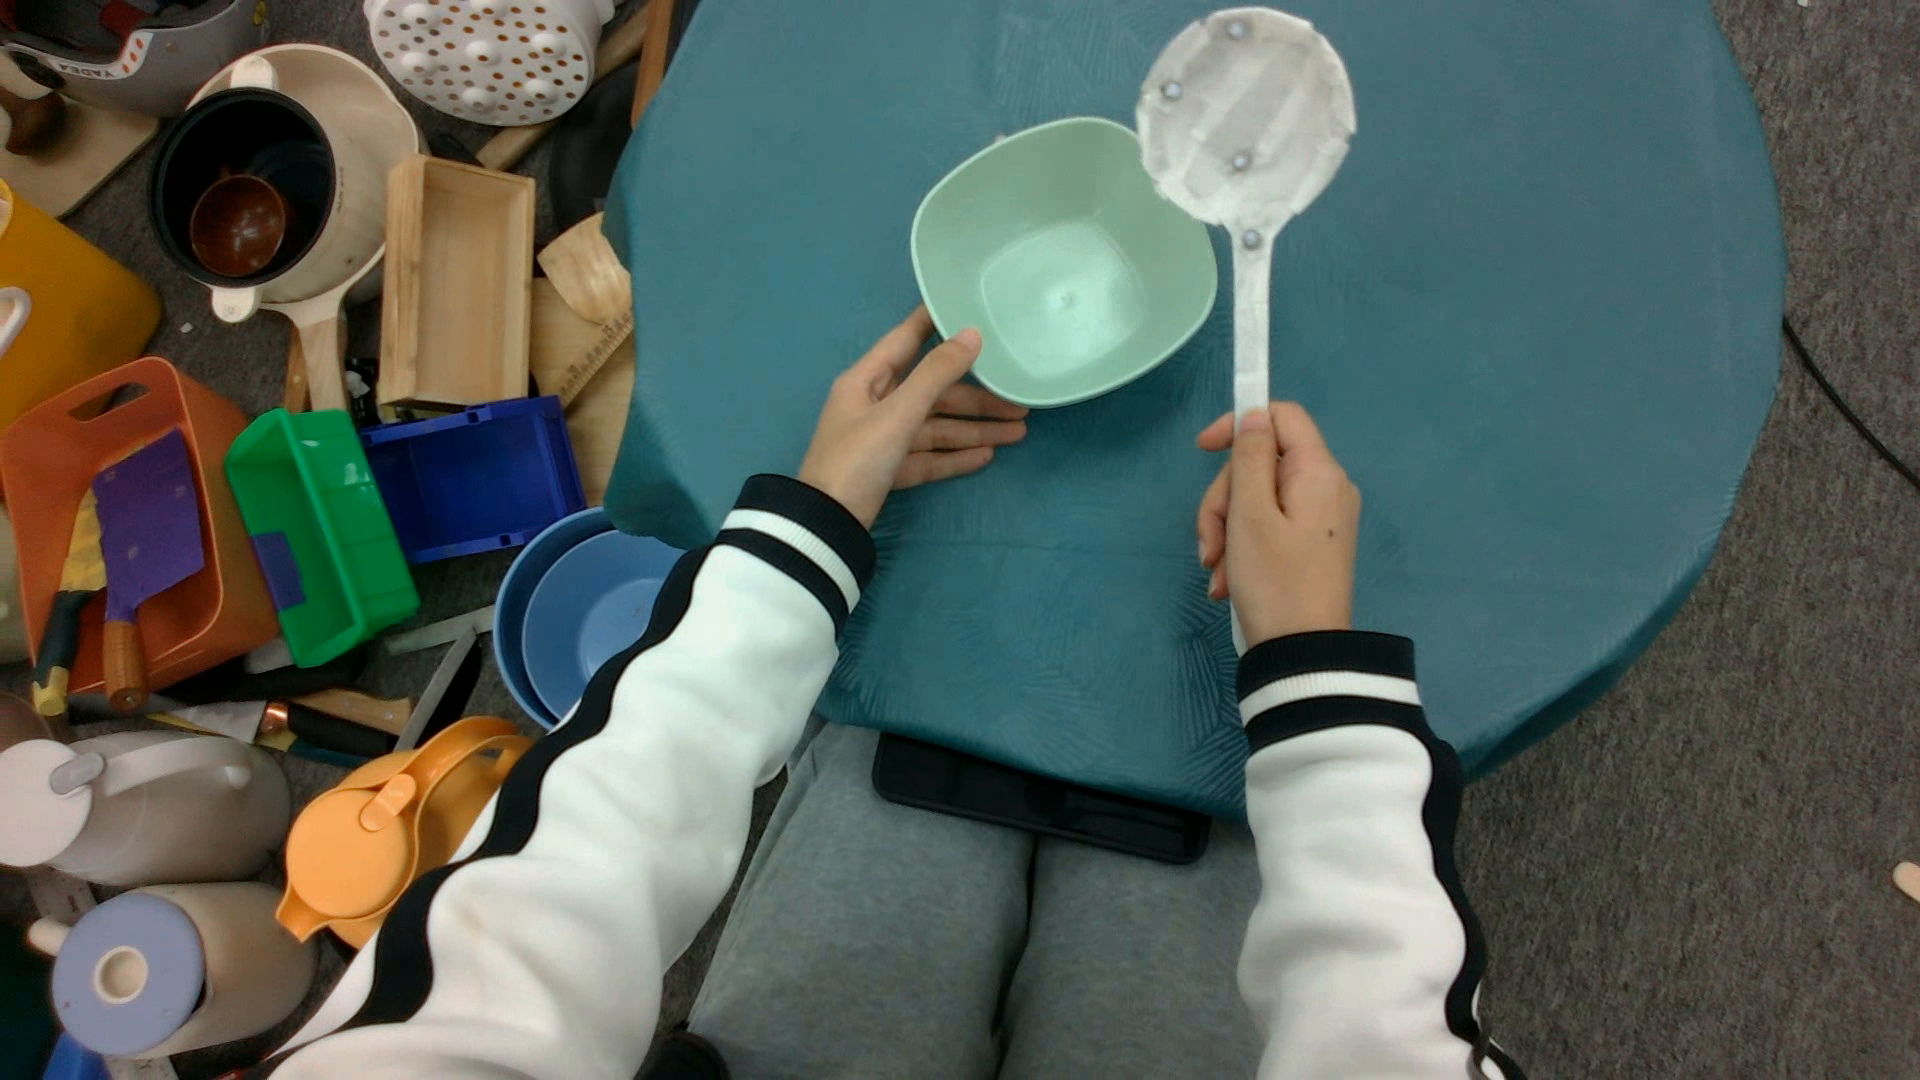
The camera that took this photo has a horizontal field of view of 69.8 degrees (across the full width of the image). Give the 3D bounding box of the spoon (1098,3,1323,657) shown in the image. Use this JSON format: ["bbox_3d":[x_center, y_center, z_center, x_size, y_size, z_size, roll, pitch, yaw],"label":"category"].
[{"bbox_3d":[0.105,-0.089,0.601,0.100,0.059,0.277,0,83,28],"label":"spoon"}]

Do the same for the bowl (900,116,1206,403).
[{"bbox_3d":[0.046,-0.132,0.694,0.151,0.058,0.152,-1,77,3],"label":"bowl"}]
